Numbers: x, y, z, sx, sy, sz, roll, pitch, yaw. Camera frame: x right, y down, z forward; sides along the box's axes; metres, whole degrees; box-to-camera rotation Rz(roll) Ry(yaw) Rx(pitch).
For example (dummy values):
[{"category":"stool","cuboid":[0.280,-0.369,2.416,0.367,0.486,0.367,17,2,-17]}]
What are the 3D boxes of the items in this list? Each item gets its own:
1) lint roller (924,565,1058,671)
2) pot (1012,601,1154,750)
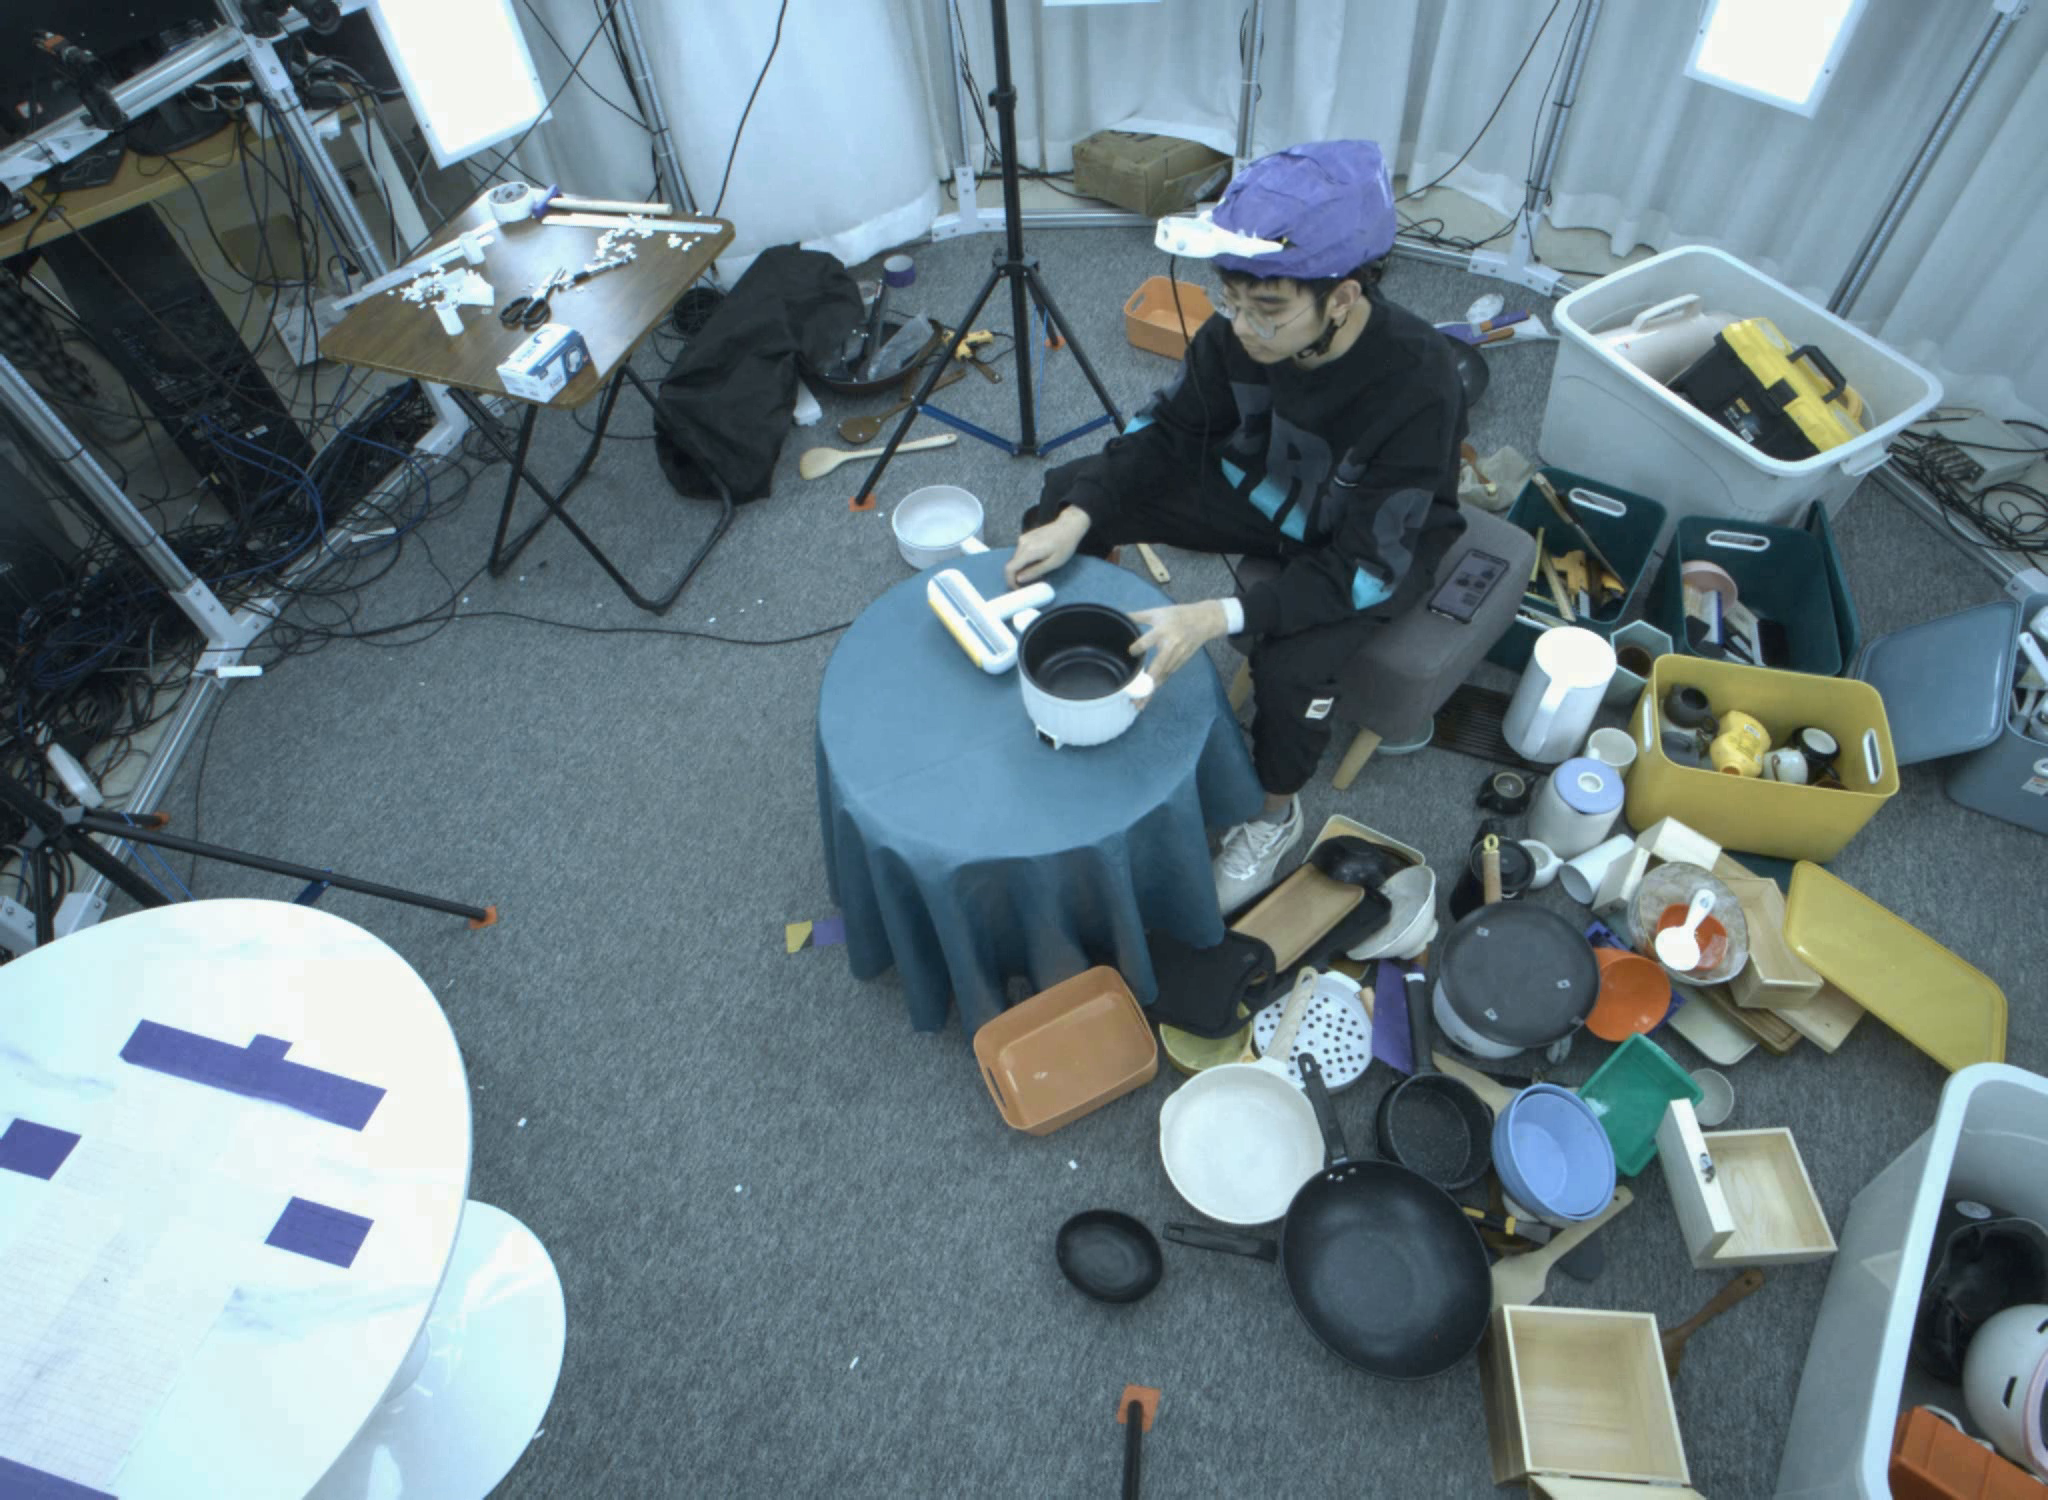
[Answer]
[{"category":"lint roller","cuboid":[-0.033,-0.223,1.900,0.194,0.075,0.189,-27,63,-18]},{"category":"pot","cuboid":[0.087,-0.106,1.769,0.236,0.144,0.191,33,65,22]}]
